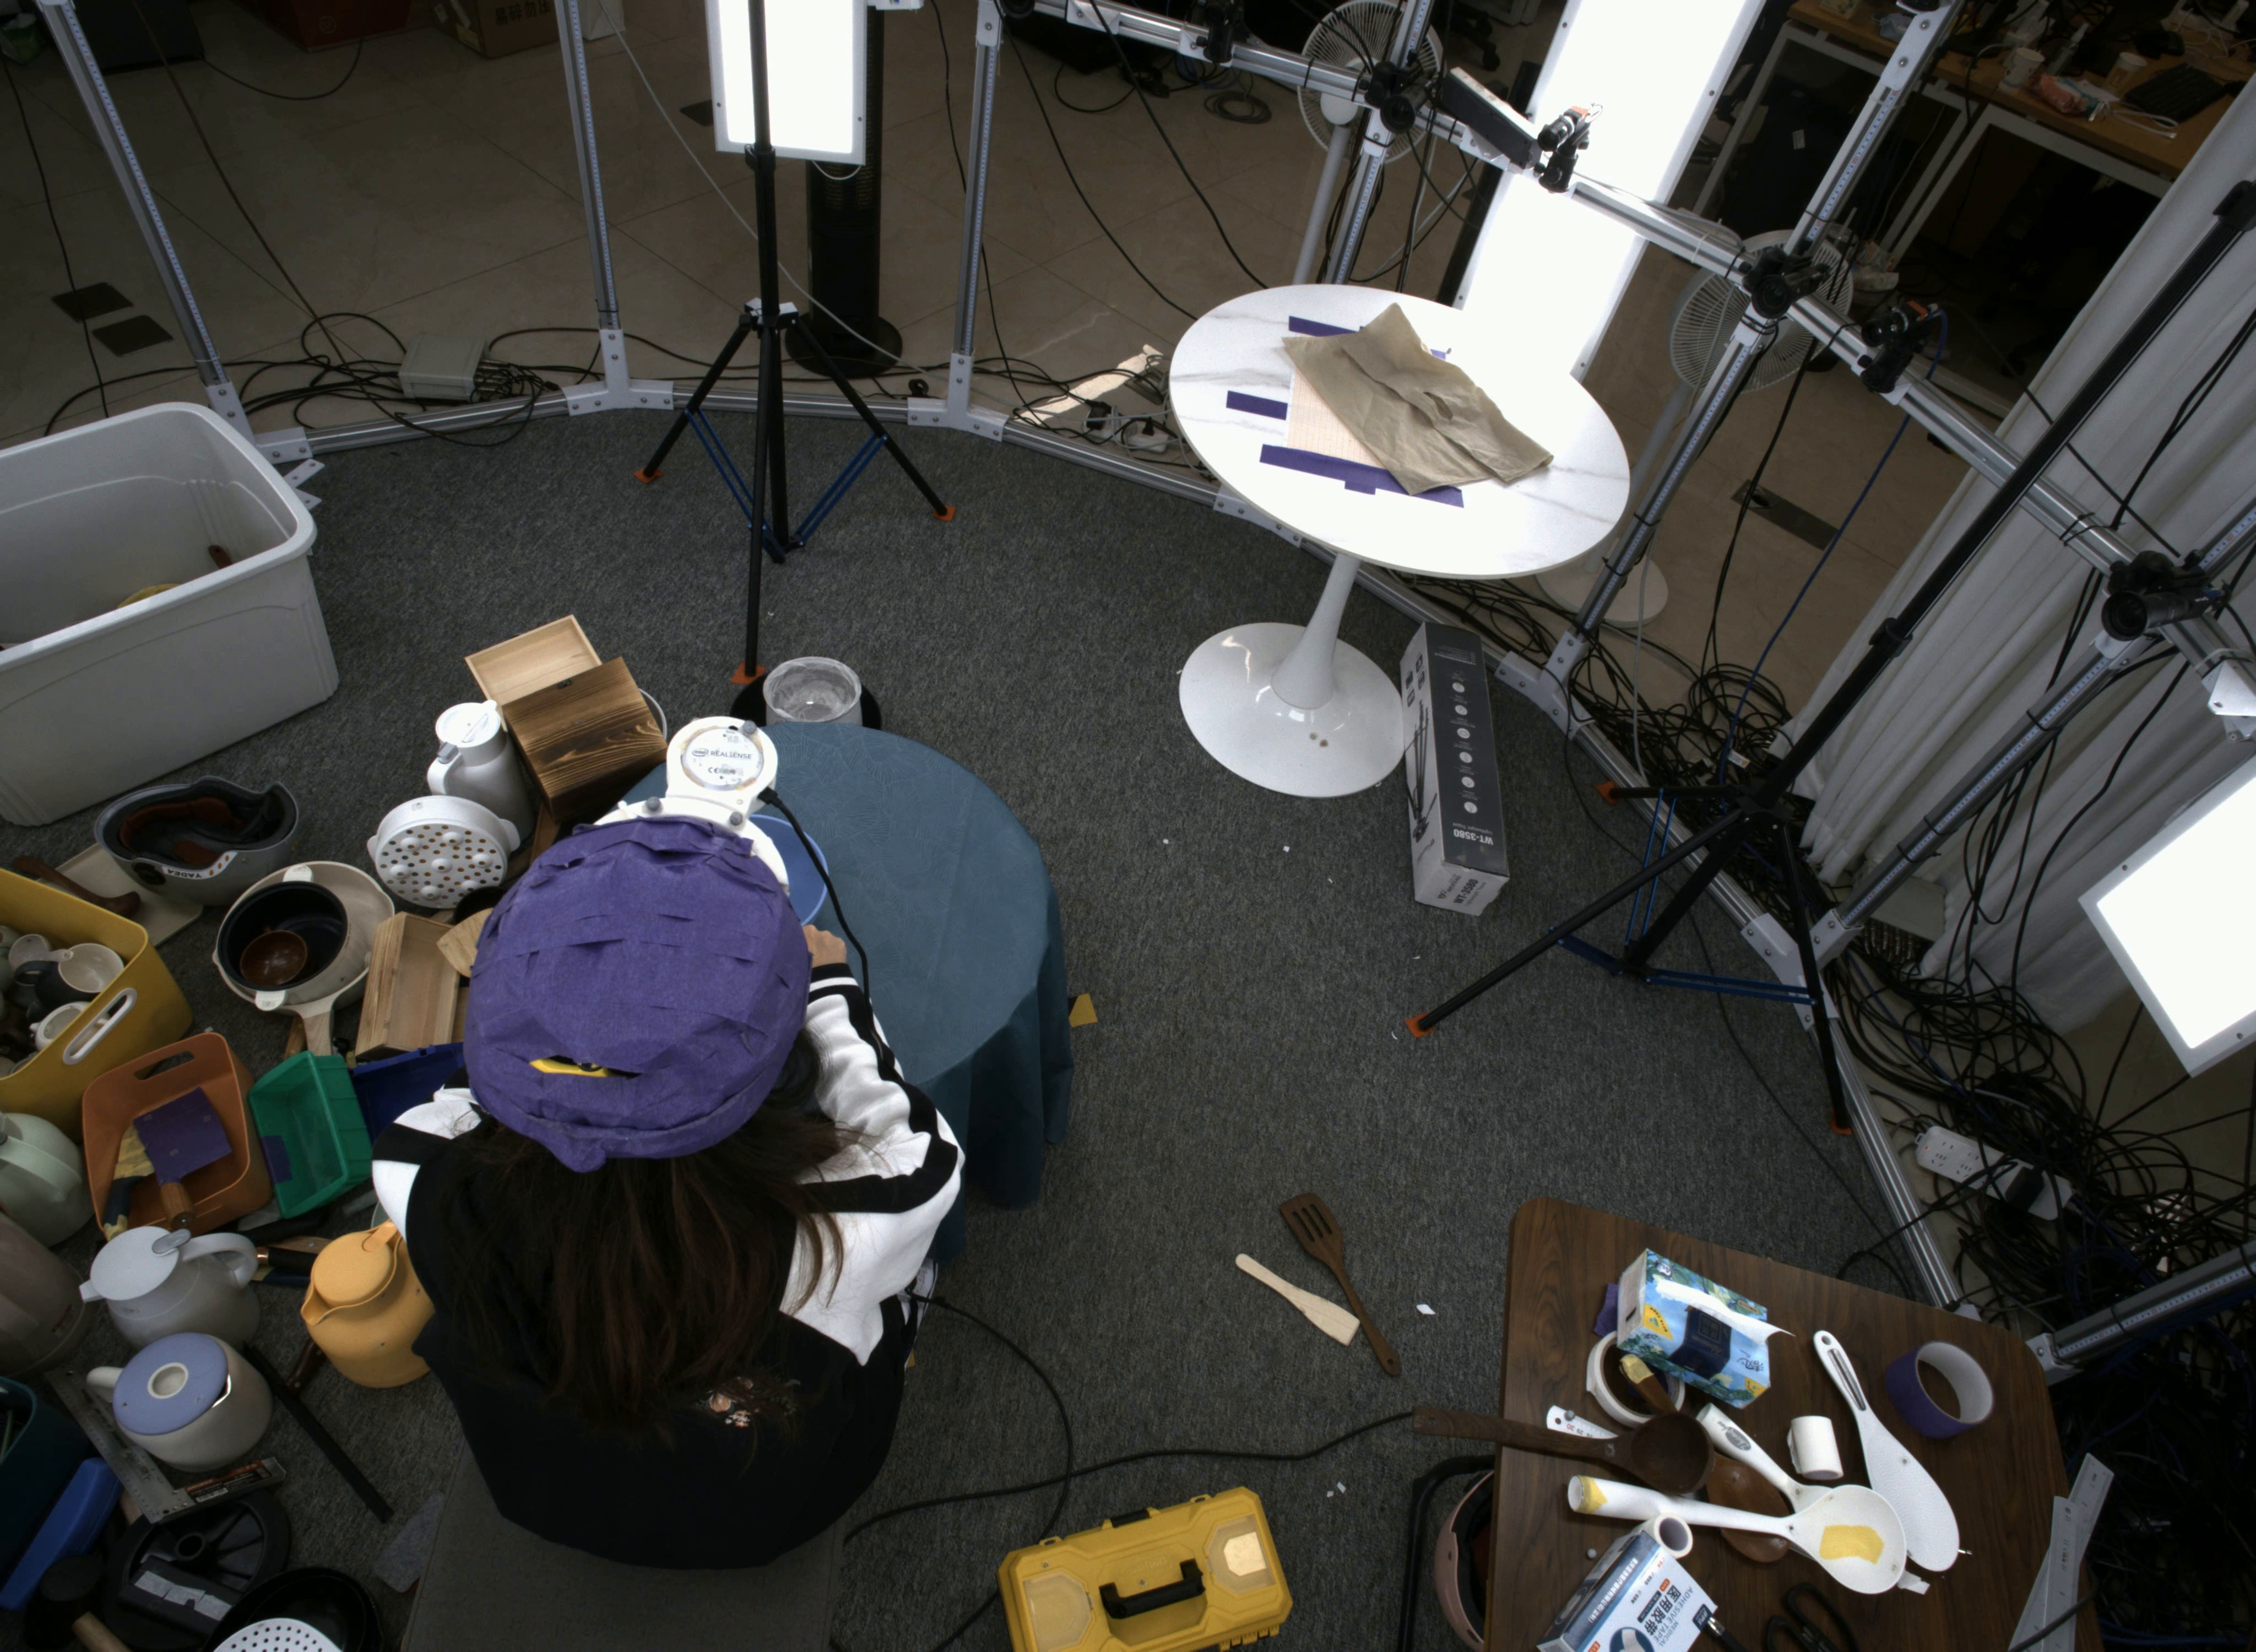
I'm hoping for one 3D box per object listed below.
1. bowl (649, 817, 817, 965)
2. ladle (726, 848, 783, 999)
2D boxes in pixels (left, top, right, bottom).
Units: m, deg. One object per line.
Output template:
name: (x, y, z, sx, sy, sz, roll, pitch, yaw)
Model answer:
bowl: (-0.477, 0.092, 1.574, 0.196, 0.097, 0.193, 8, 50, -7)
ladle: (-0.412, 0.119, 1.509, 0.075, 0.072, 0.246, 30, 19, -46)
